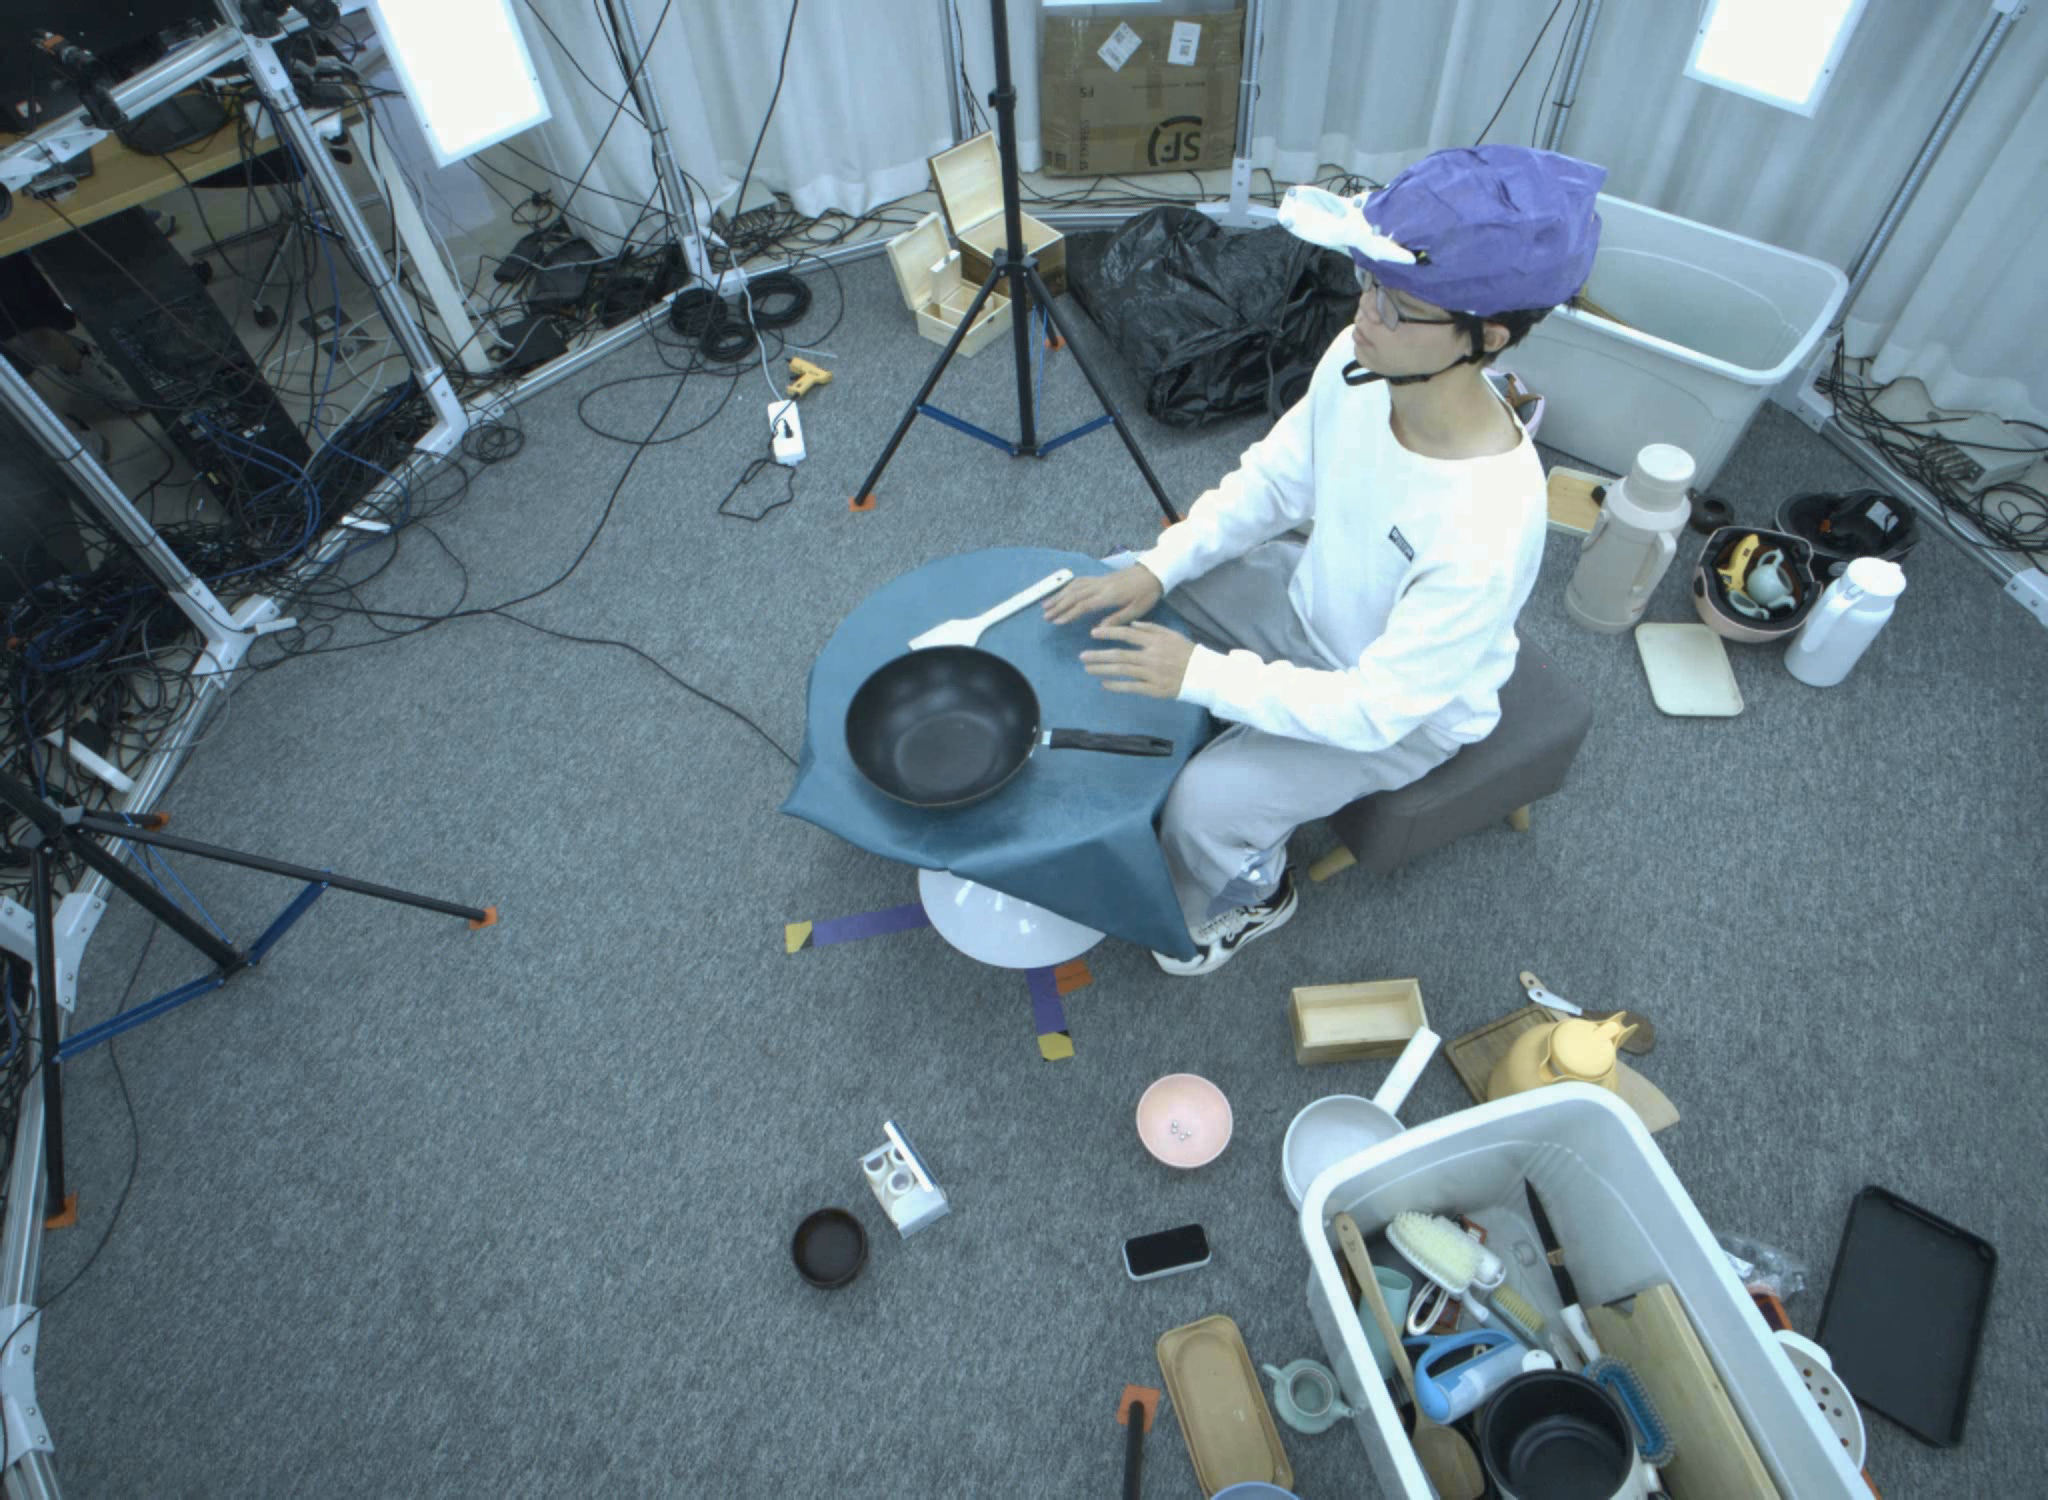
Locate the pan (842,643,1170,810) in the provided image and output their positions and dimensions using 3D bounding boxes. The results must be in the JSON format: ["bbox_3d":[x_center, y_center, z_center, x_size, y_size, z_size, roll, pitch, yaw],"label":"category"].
[{"bbox_3d":[-0.025,-0.009,1.741,0.461,0.088,0.286,8,56,6],"label":"pan"}]

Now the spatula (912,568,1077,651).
[{"bbox_3d":[-0.040,-0.216,1.935,0.295,0.011,0.071,-31,58,-19],"label":"spatula"}]
